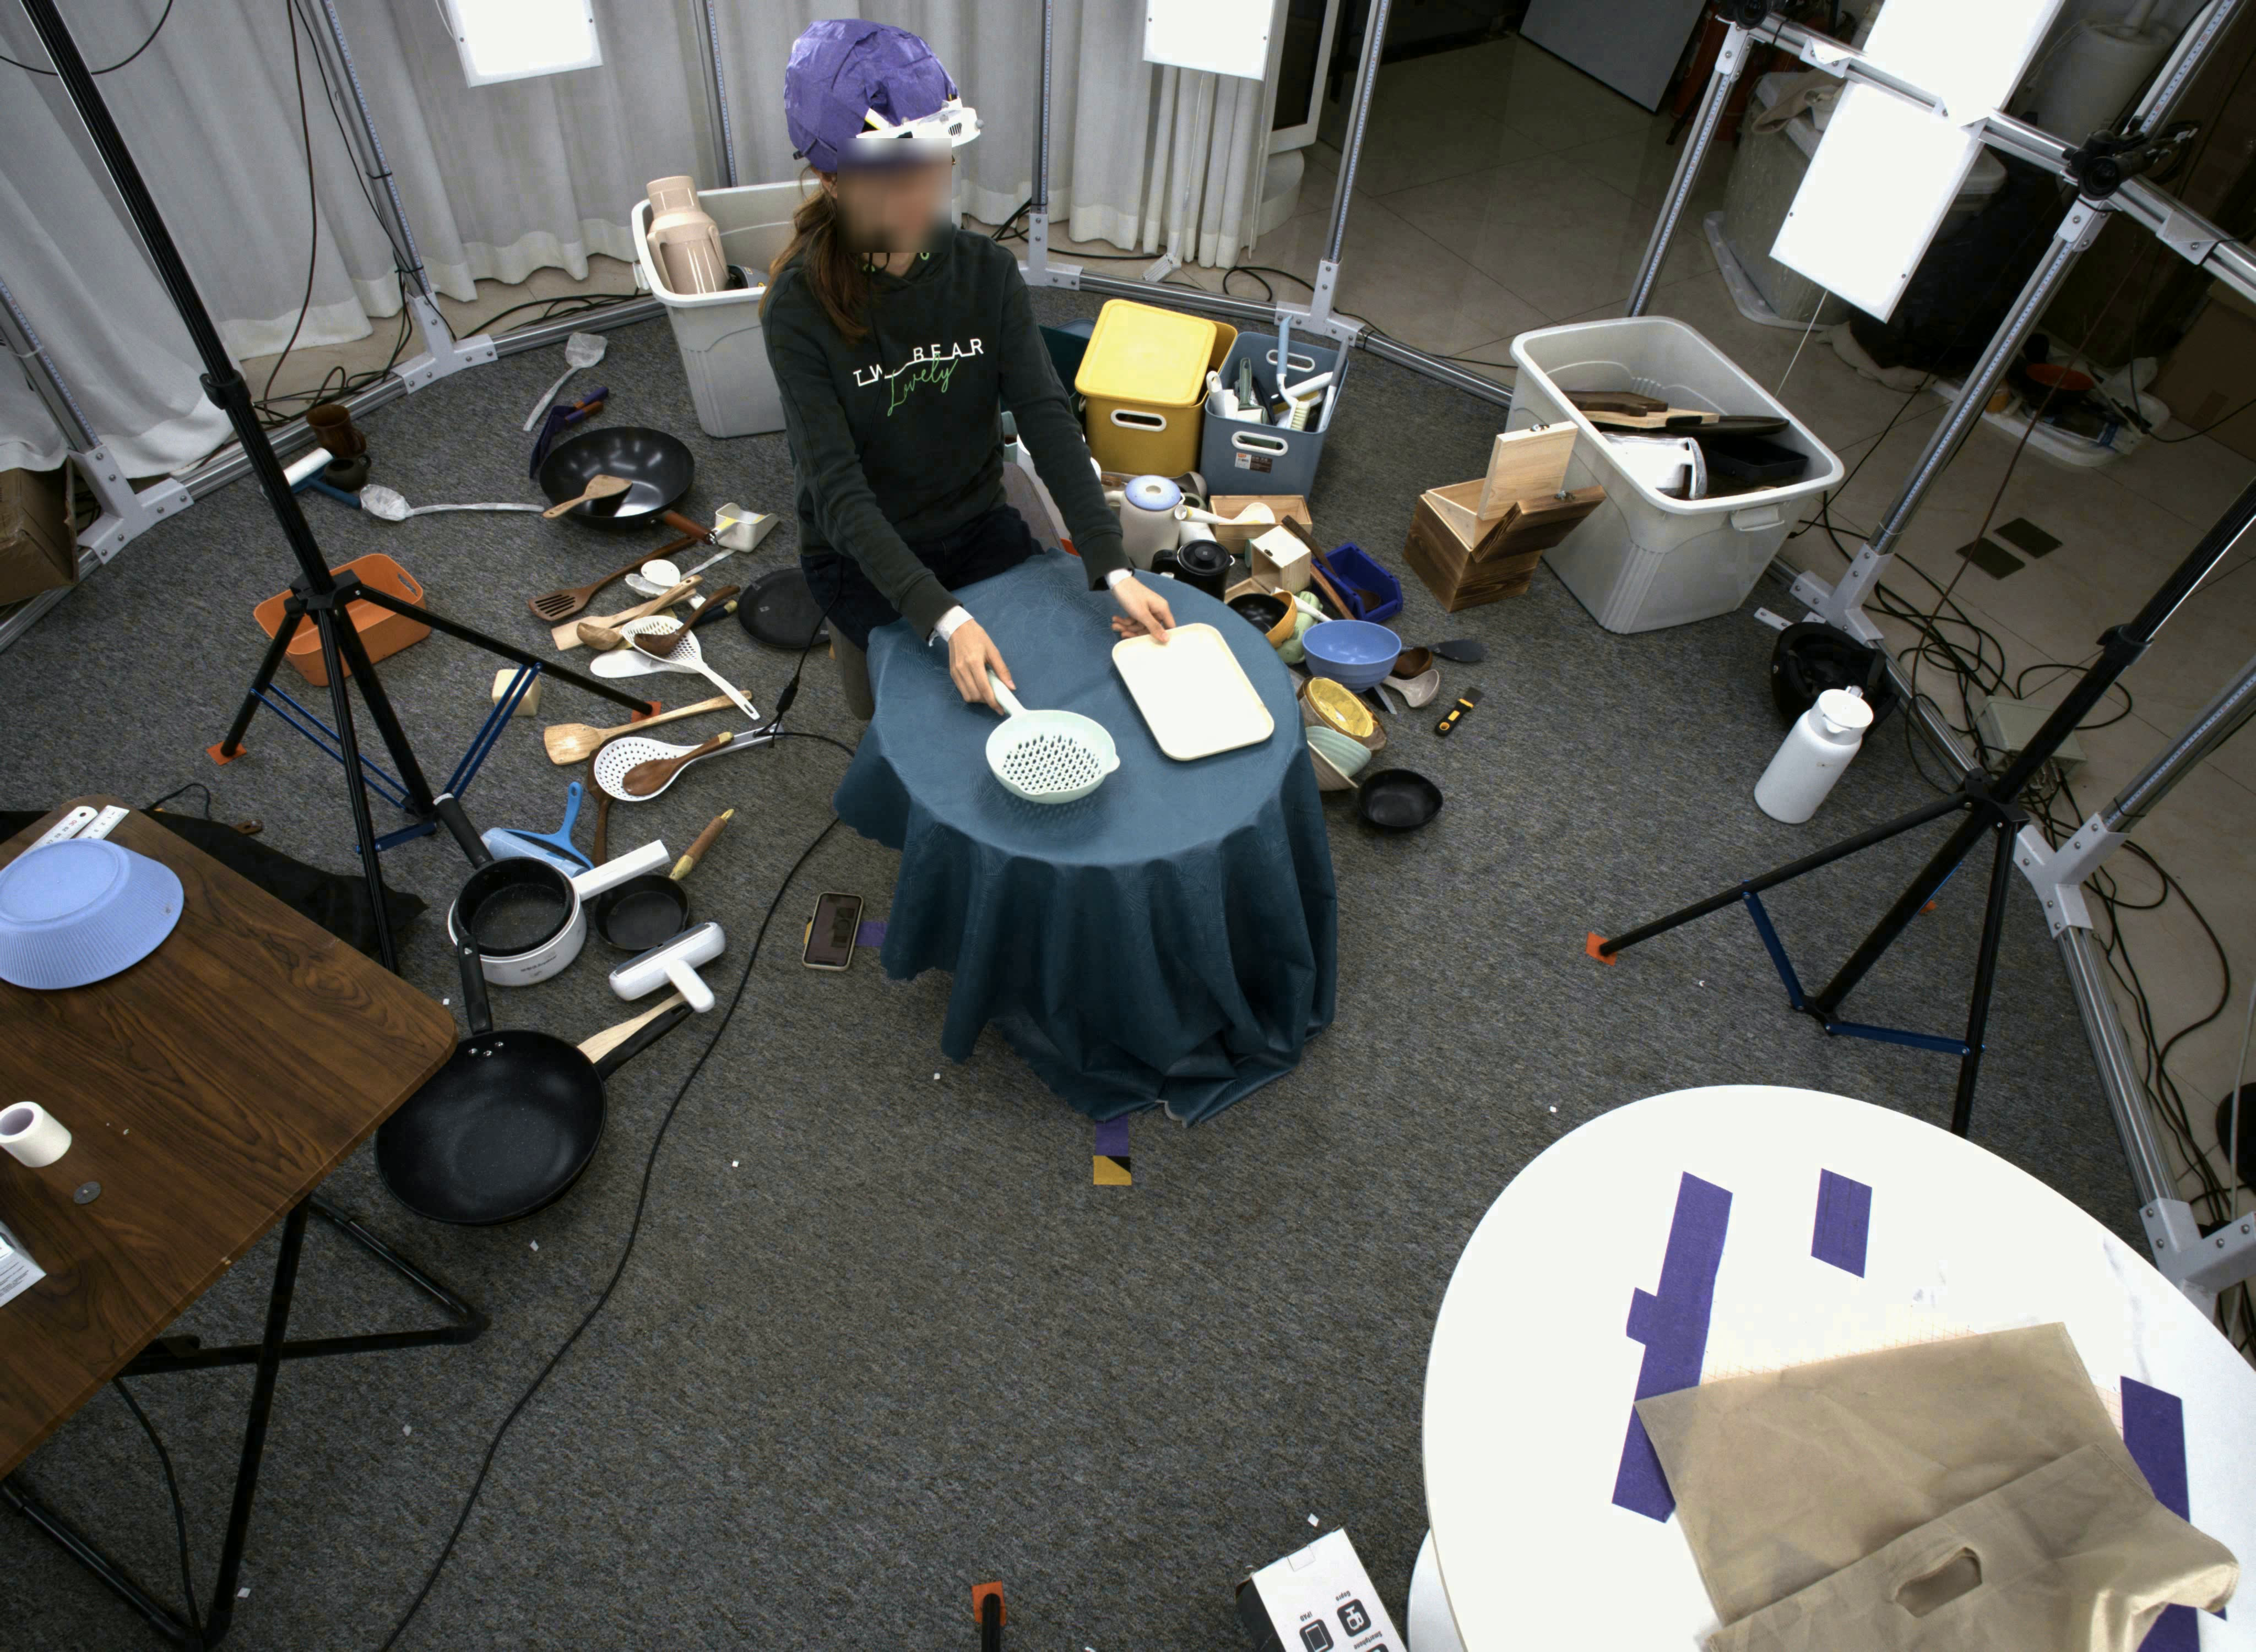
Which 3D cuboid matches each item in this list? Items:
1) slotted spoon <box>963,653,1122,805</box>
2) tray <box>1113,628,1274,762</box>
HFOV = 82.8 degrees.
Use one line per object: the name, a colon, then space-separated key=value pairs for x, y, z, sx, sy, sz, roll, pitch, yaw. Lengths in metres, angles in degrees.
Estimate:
slotted spoon: x=-0.148 y=-0.149 z=1.761 sx=0.169 sy=0.073 sz=0.366 roll=-17 pitch=52 yaw=-24
tray: x=0.092 y=-0.190 z=1.840 sx=0.171 sy=0.017 sz=0.245 roll=-15 pitch=53 yaw=-16
